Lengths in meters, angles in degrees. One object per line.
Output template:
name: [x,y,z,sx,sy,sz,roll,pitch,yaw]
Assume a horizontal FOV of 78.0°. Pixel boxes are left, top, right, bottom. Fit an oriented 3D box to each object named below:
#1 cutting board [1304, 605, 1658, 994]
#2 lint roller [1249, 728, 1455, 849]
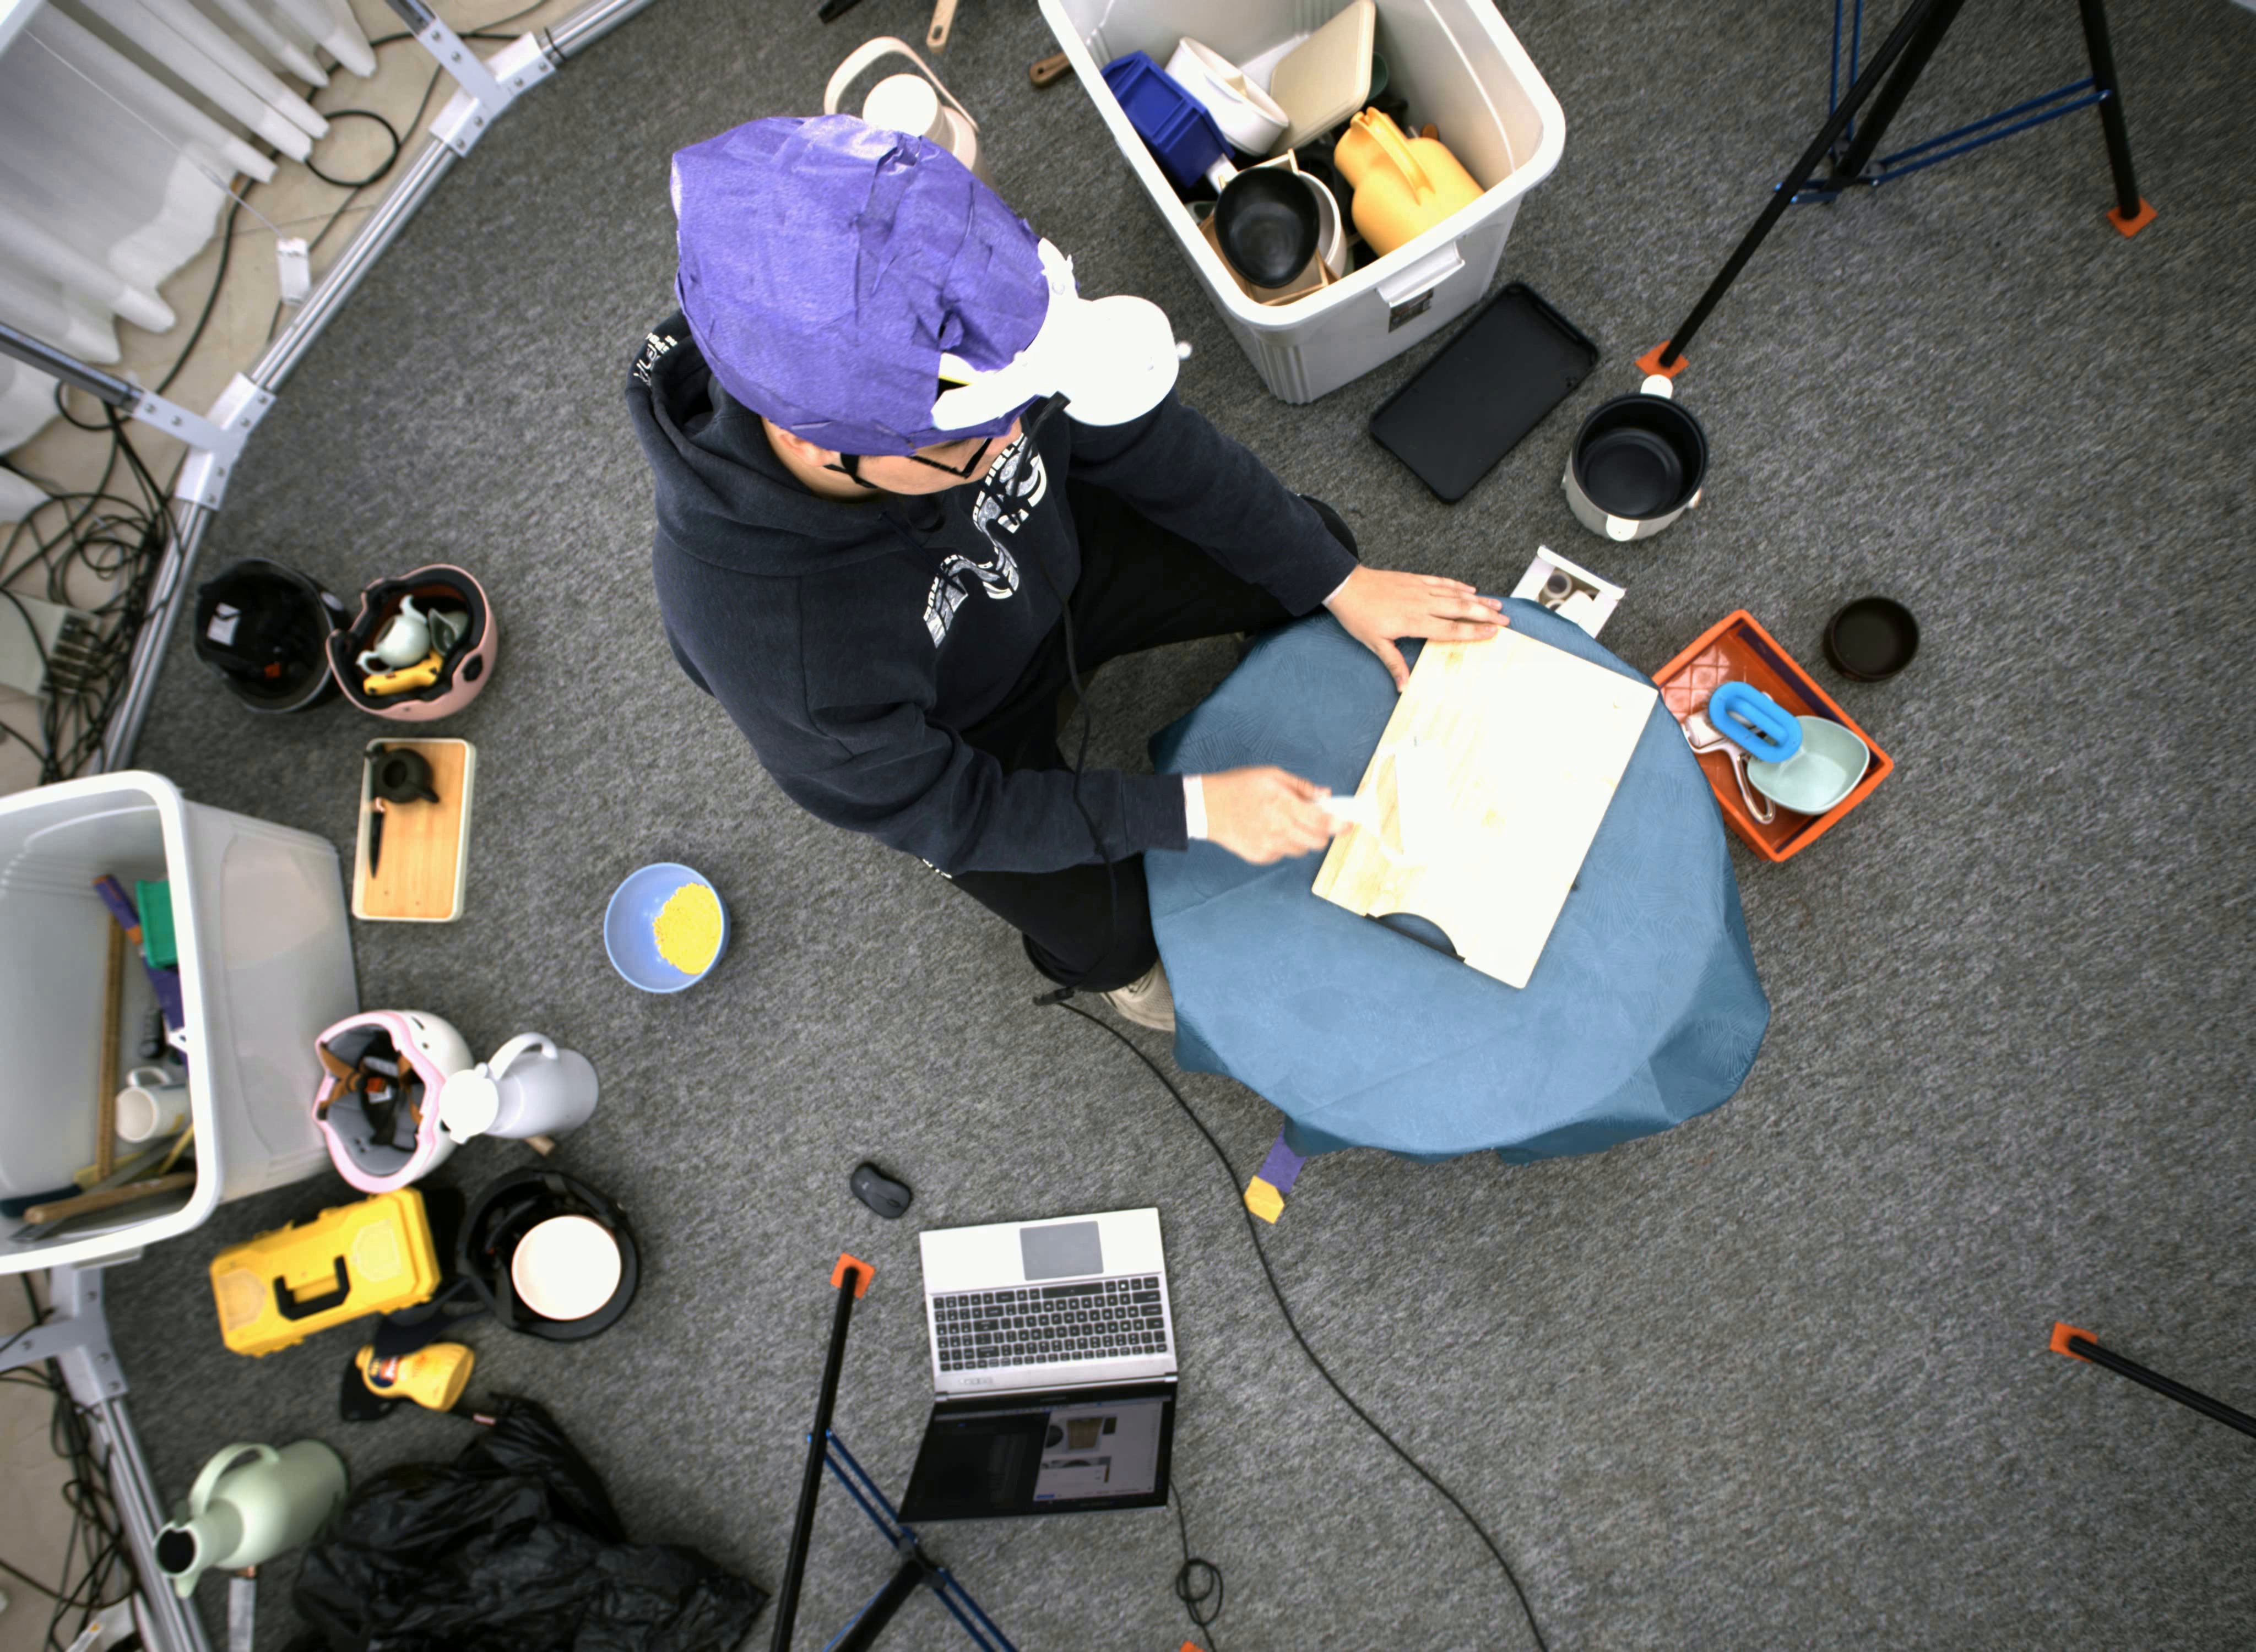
cutting board: [0.369,-0.032,1.440,0.250,0.023,0.349,24,91,12]
lint roller: [0.215,-0.030,1.350,0.198,0.048,0.116,-7,87,11]
